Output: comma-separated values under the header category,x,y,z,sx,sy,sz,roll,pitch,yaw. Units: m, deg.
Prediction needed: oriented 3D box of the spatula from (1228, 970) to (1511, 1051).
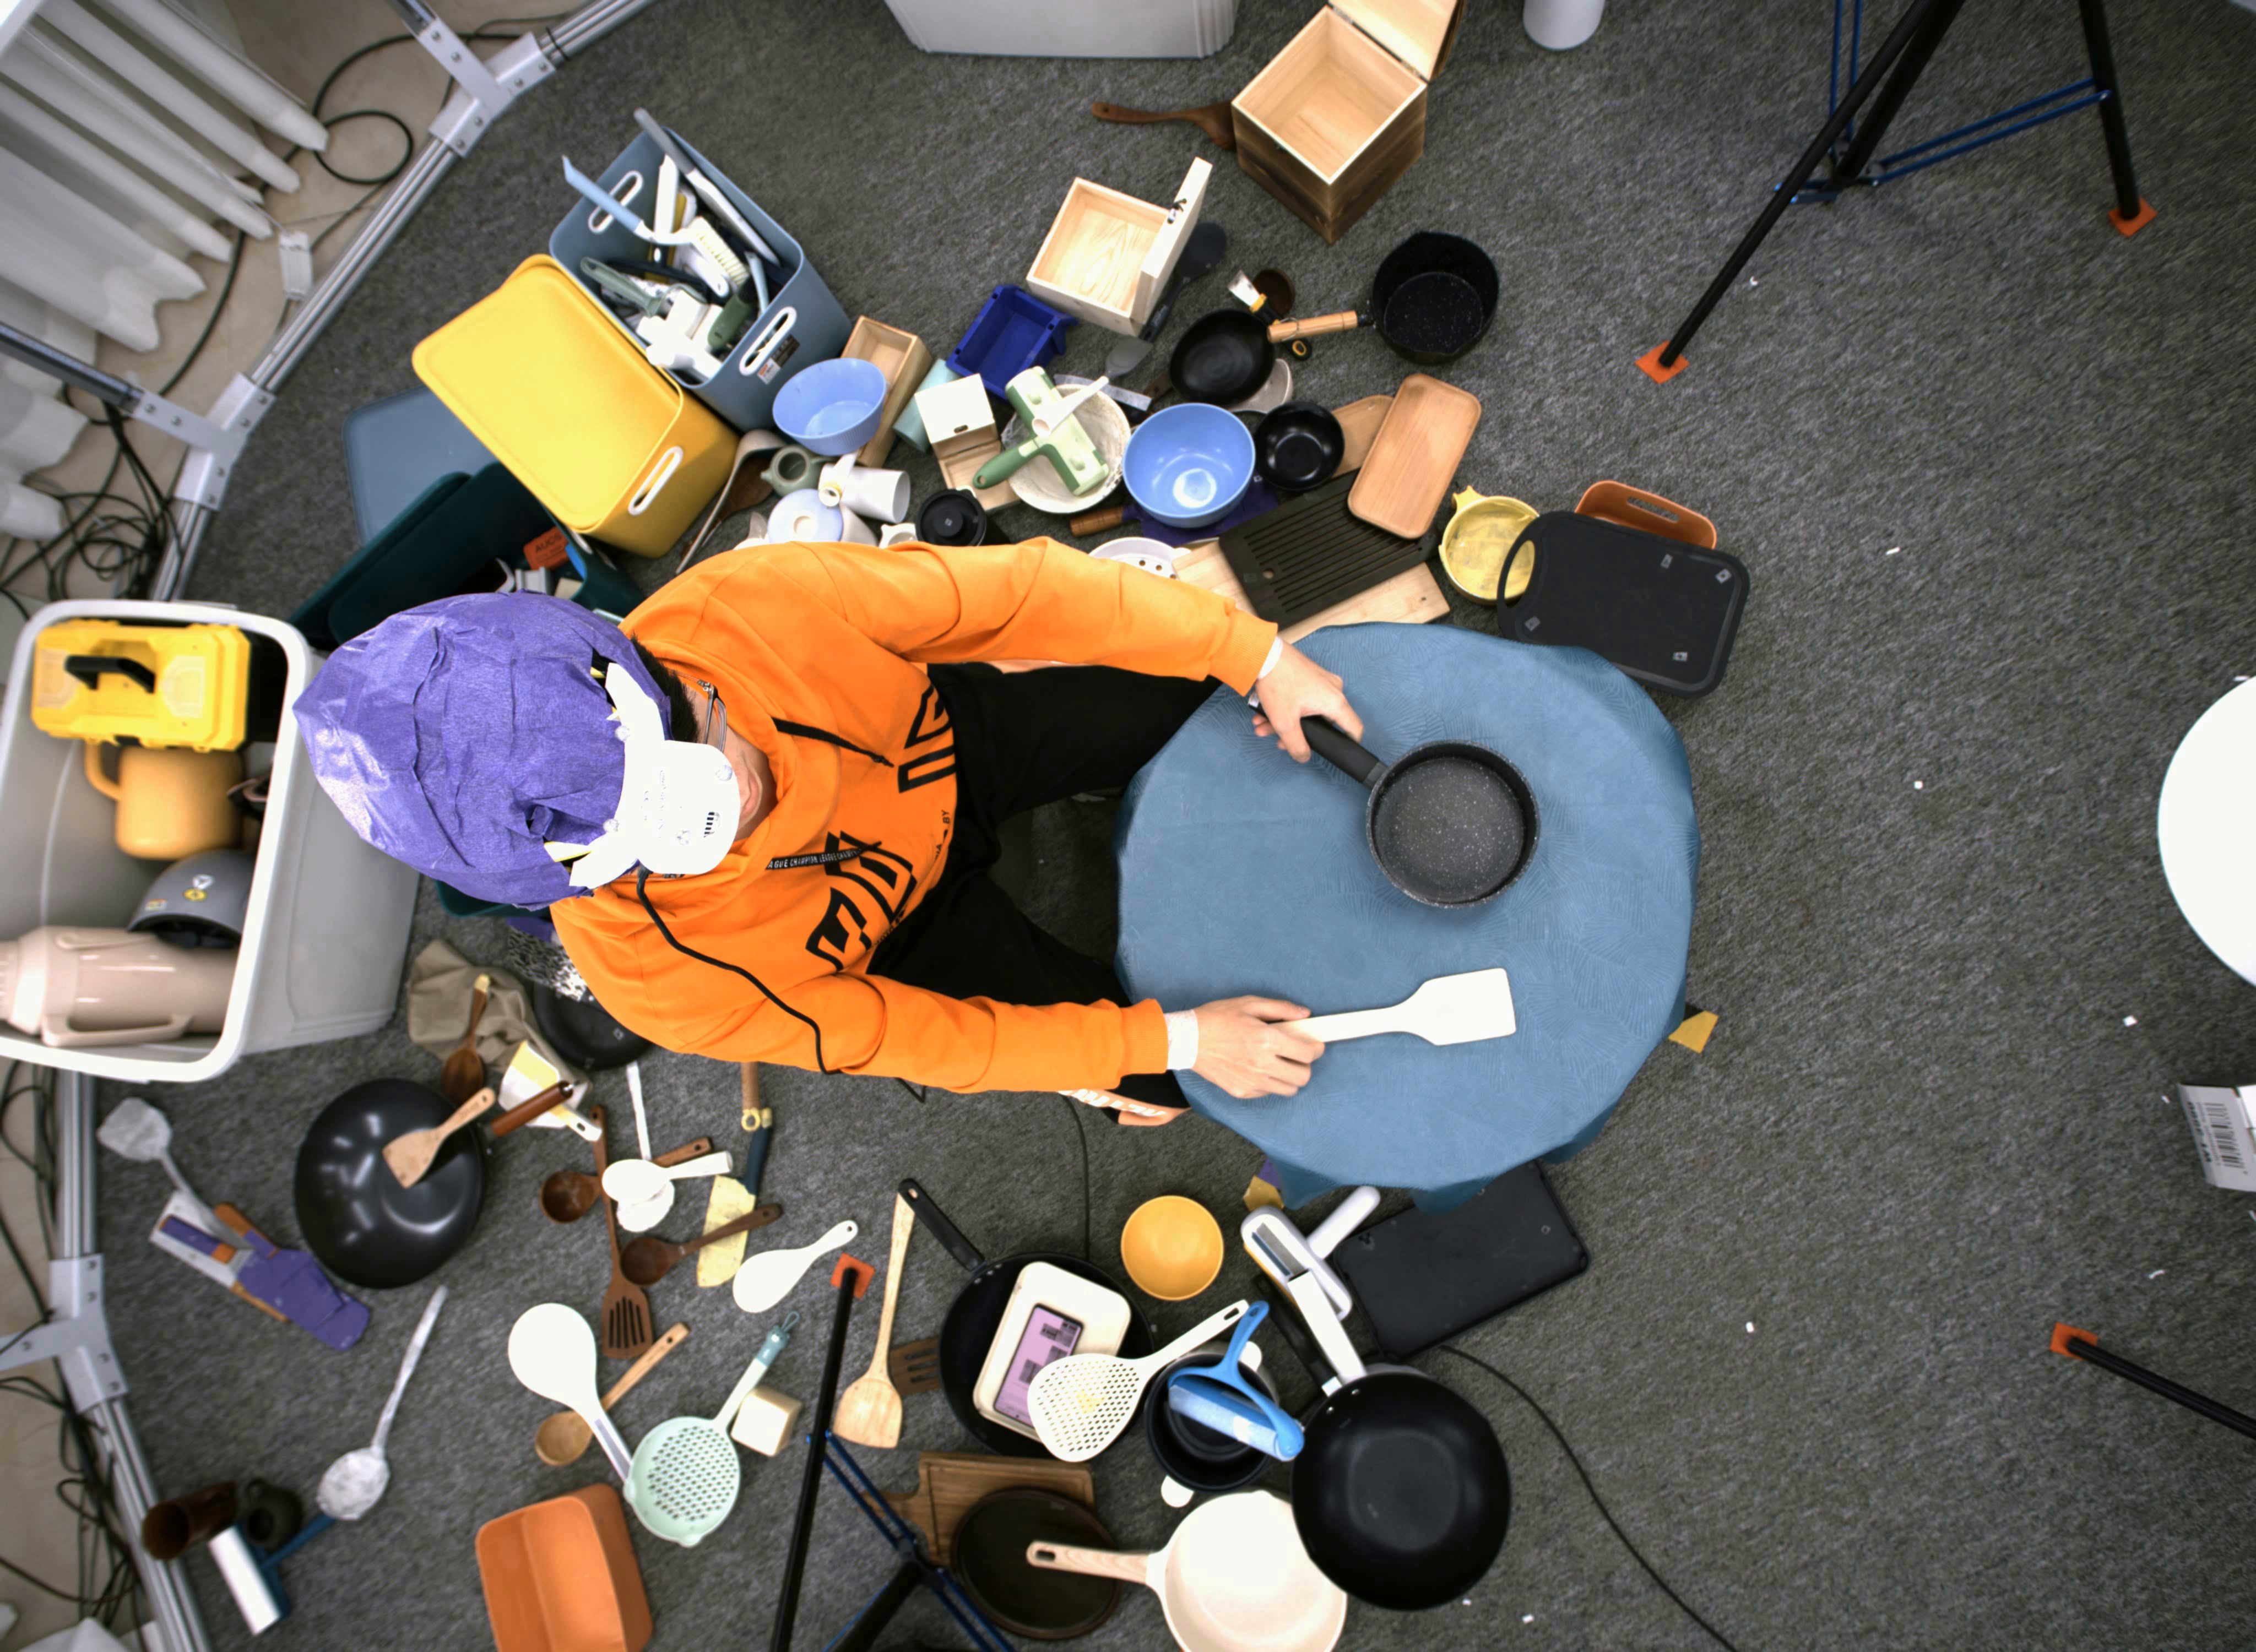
category,x,y,z,sx,sy,sz,roll,pitch,yaw
spatula,0.250,0.203,1.443,0.294,0.010,0.072,-9,88,5

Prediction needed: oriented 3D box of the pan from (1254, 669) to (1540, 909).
category,x,y,z,sx,sy,sz,roll,pitch,yaw
pan,0.268,-0.048,1.424,0.328,0.086,0.172,38,93,8
